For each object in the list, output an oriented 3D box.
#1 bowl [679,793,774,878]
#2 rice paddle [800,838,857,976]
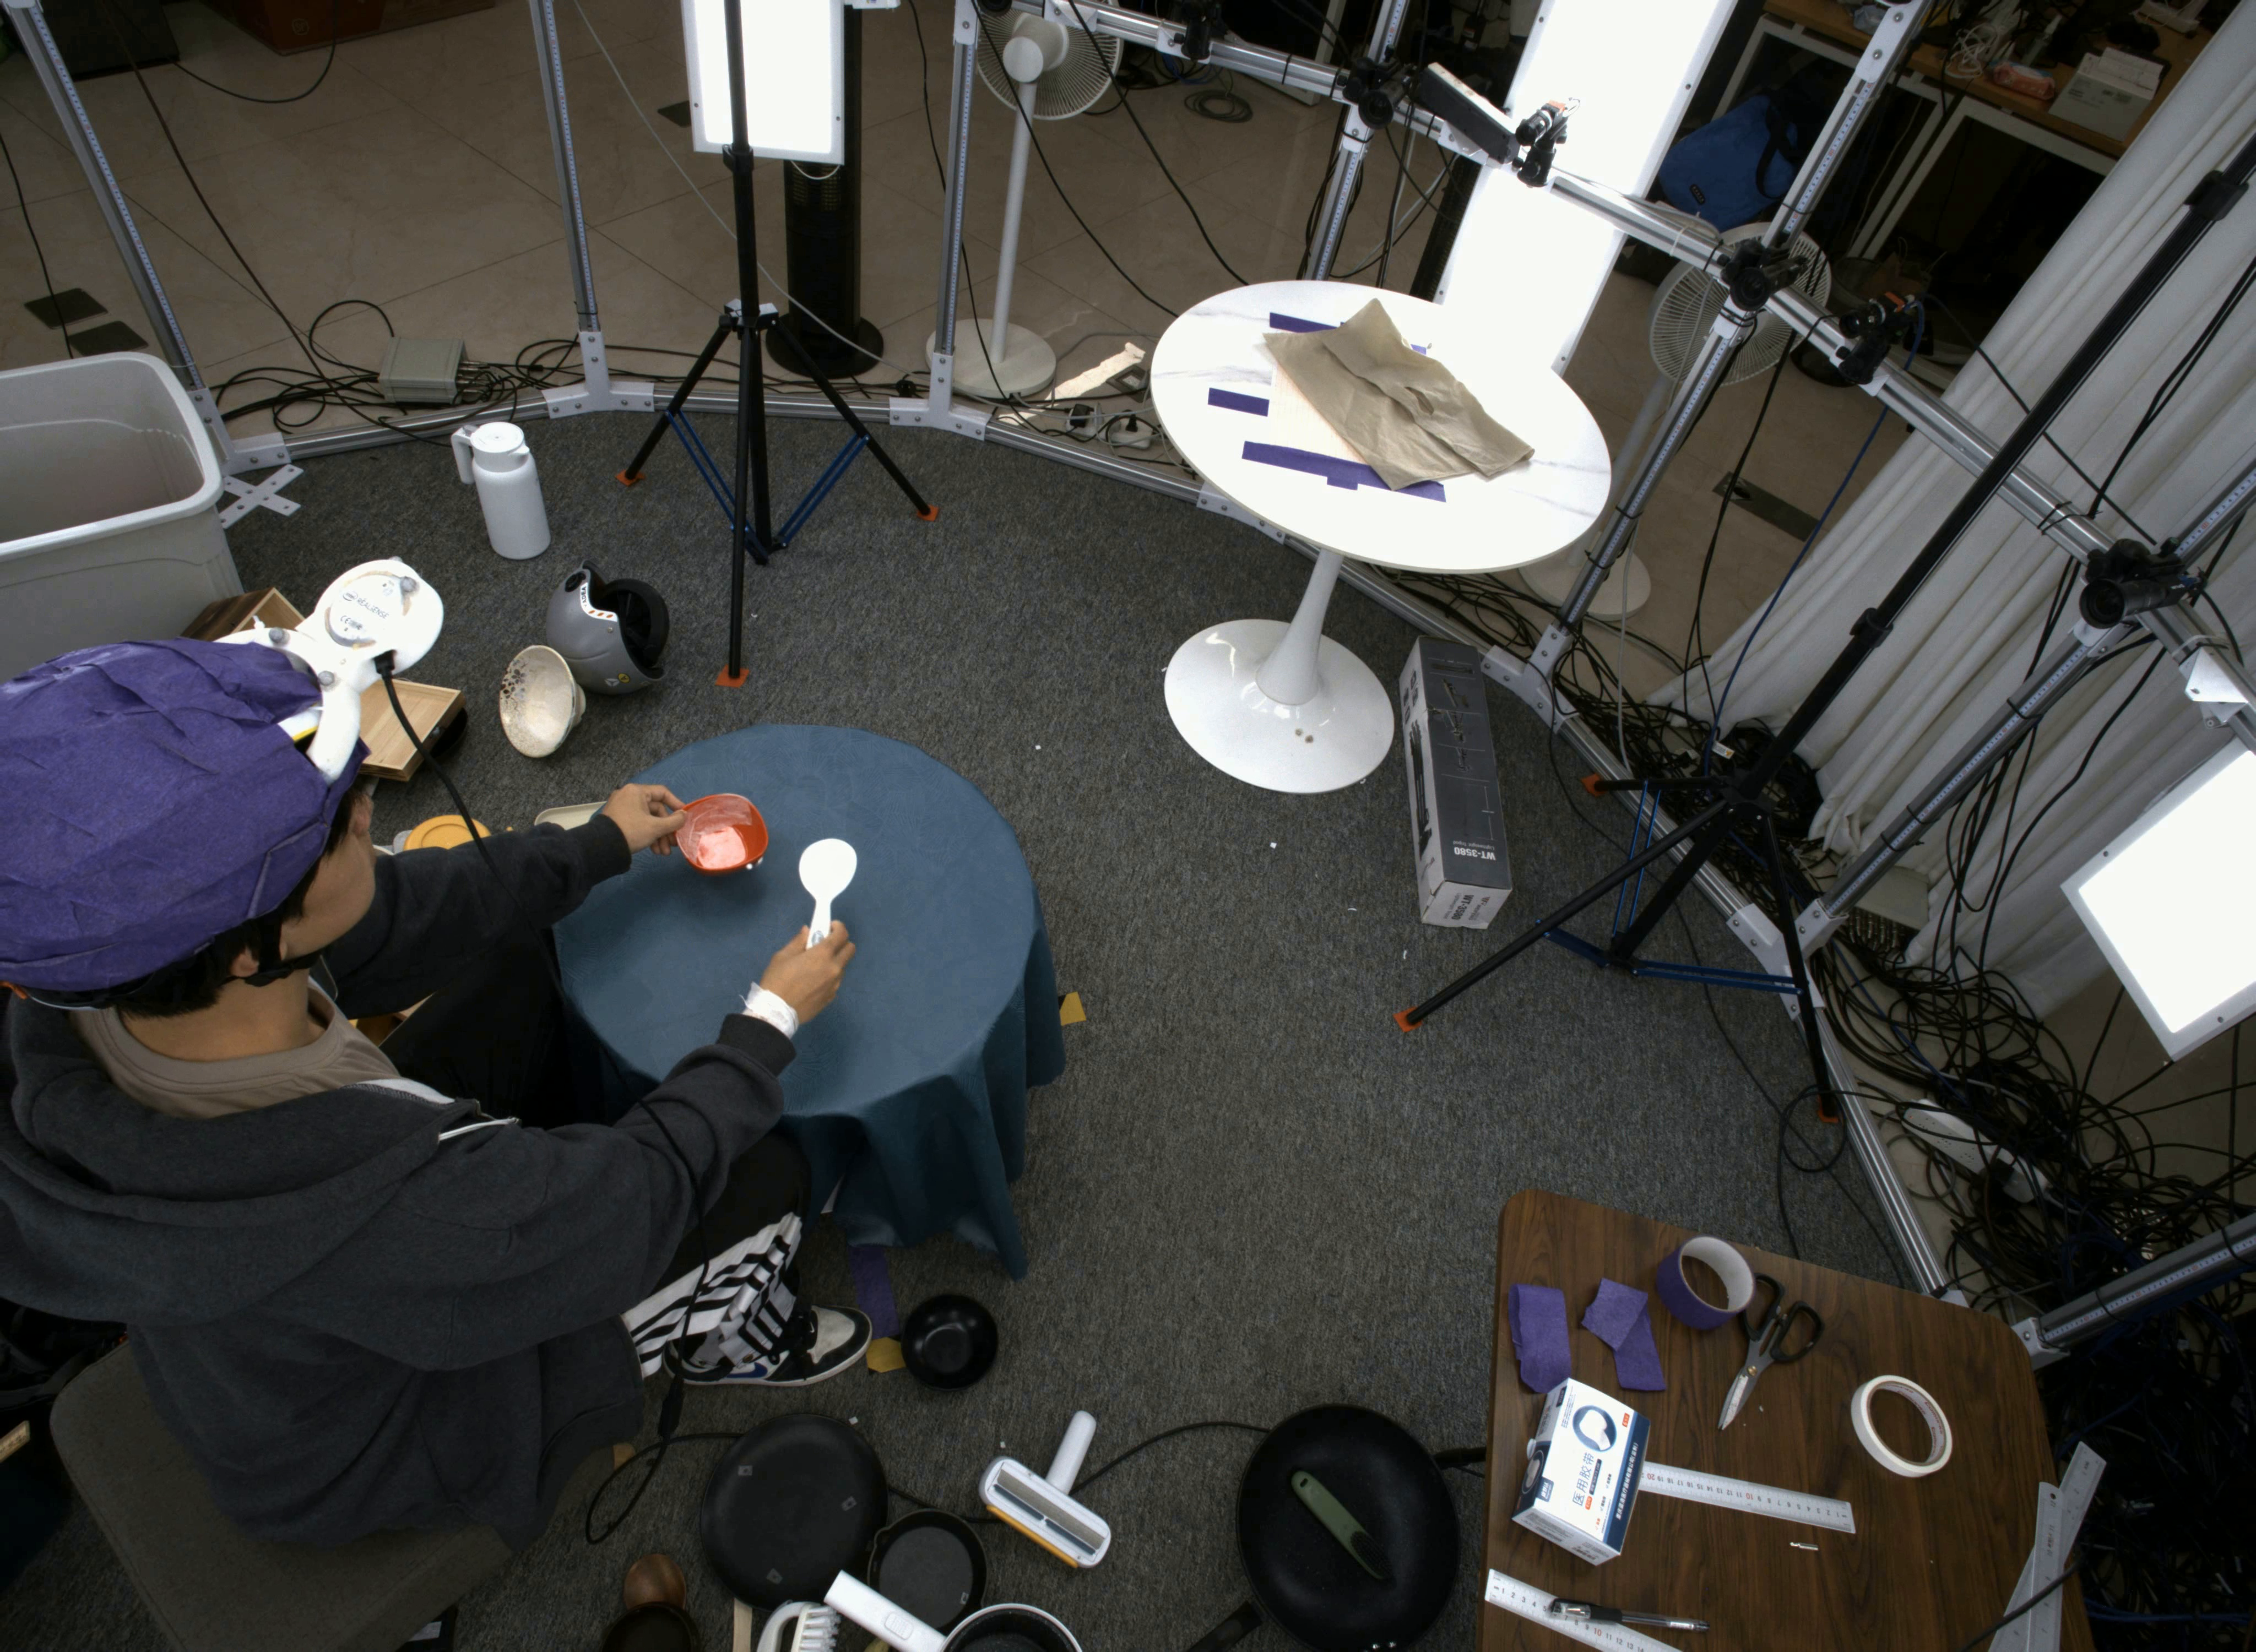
[{"bbox_3d":[-0.503,0.020,1.619,0.119,0.052,0.117,11,56,-15],"label":"bowl"},{"bbox_3d":[-0.361,0.086,1.546,0.068,0.030,0.200,1,48,-8],"label":"rice paddle"}]
